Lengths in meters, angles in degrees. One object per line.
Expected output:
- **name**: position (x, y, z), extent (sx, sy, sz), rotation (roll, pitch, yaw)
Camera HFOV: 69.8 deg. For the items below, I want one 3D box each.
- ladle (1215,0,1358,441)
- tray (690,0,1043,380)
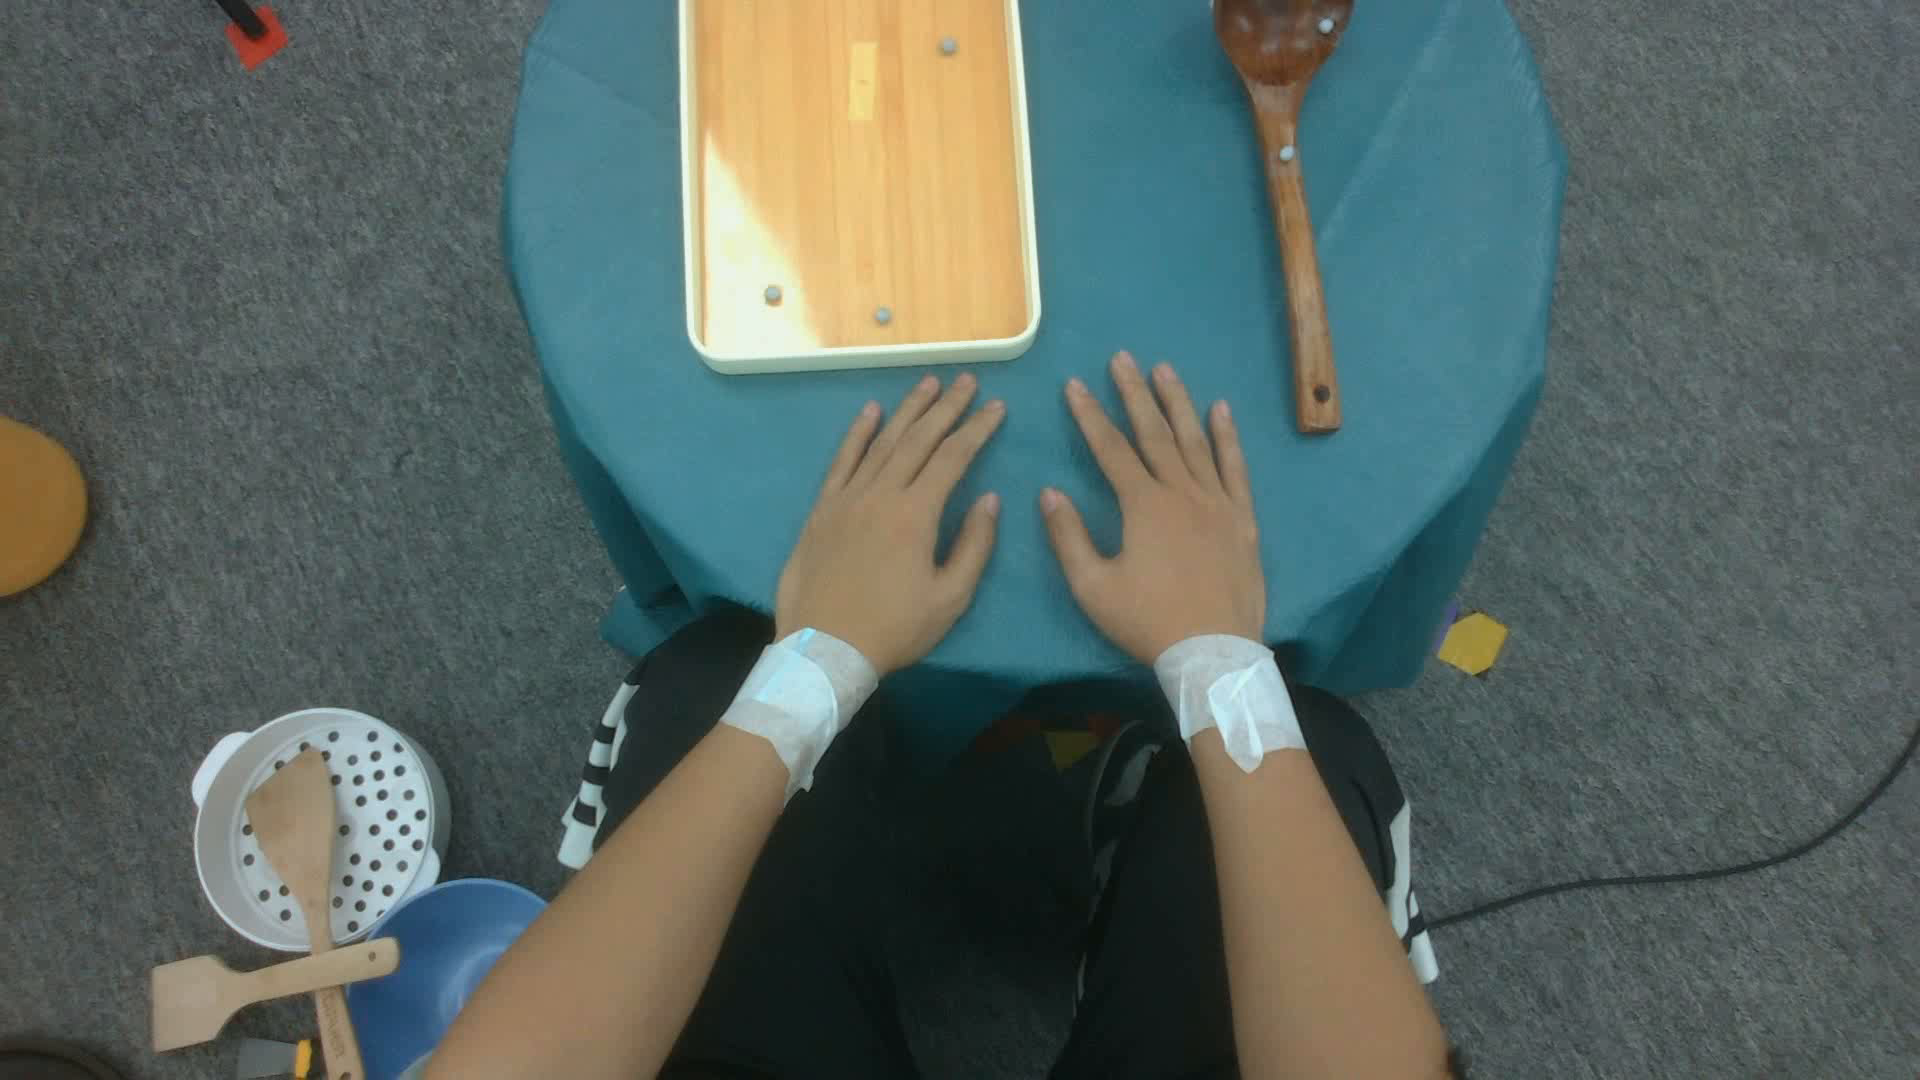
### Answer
- **ladle**: position (0.191, -0.196, 0.759), extent (0.082, 0.076, 0.274), rotation (-2, 75, -5)
- **tray**: position (-0.057, -0.240, 0.794), extent (0.191, 0.027, 0.301), rotation (-3, 76, -1)
